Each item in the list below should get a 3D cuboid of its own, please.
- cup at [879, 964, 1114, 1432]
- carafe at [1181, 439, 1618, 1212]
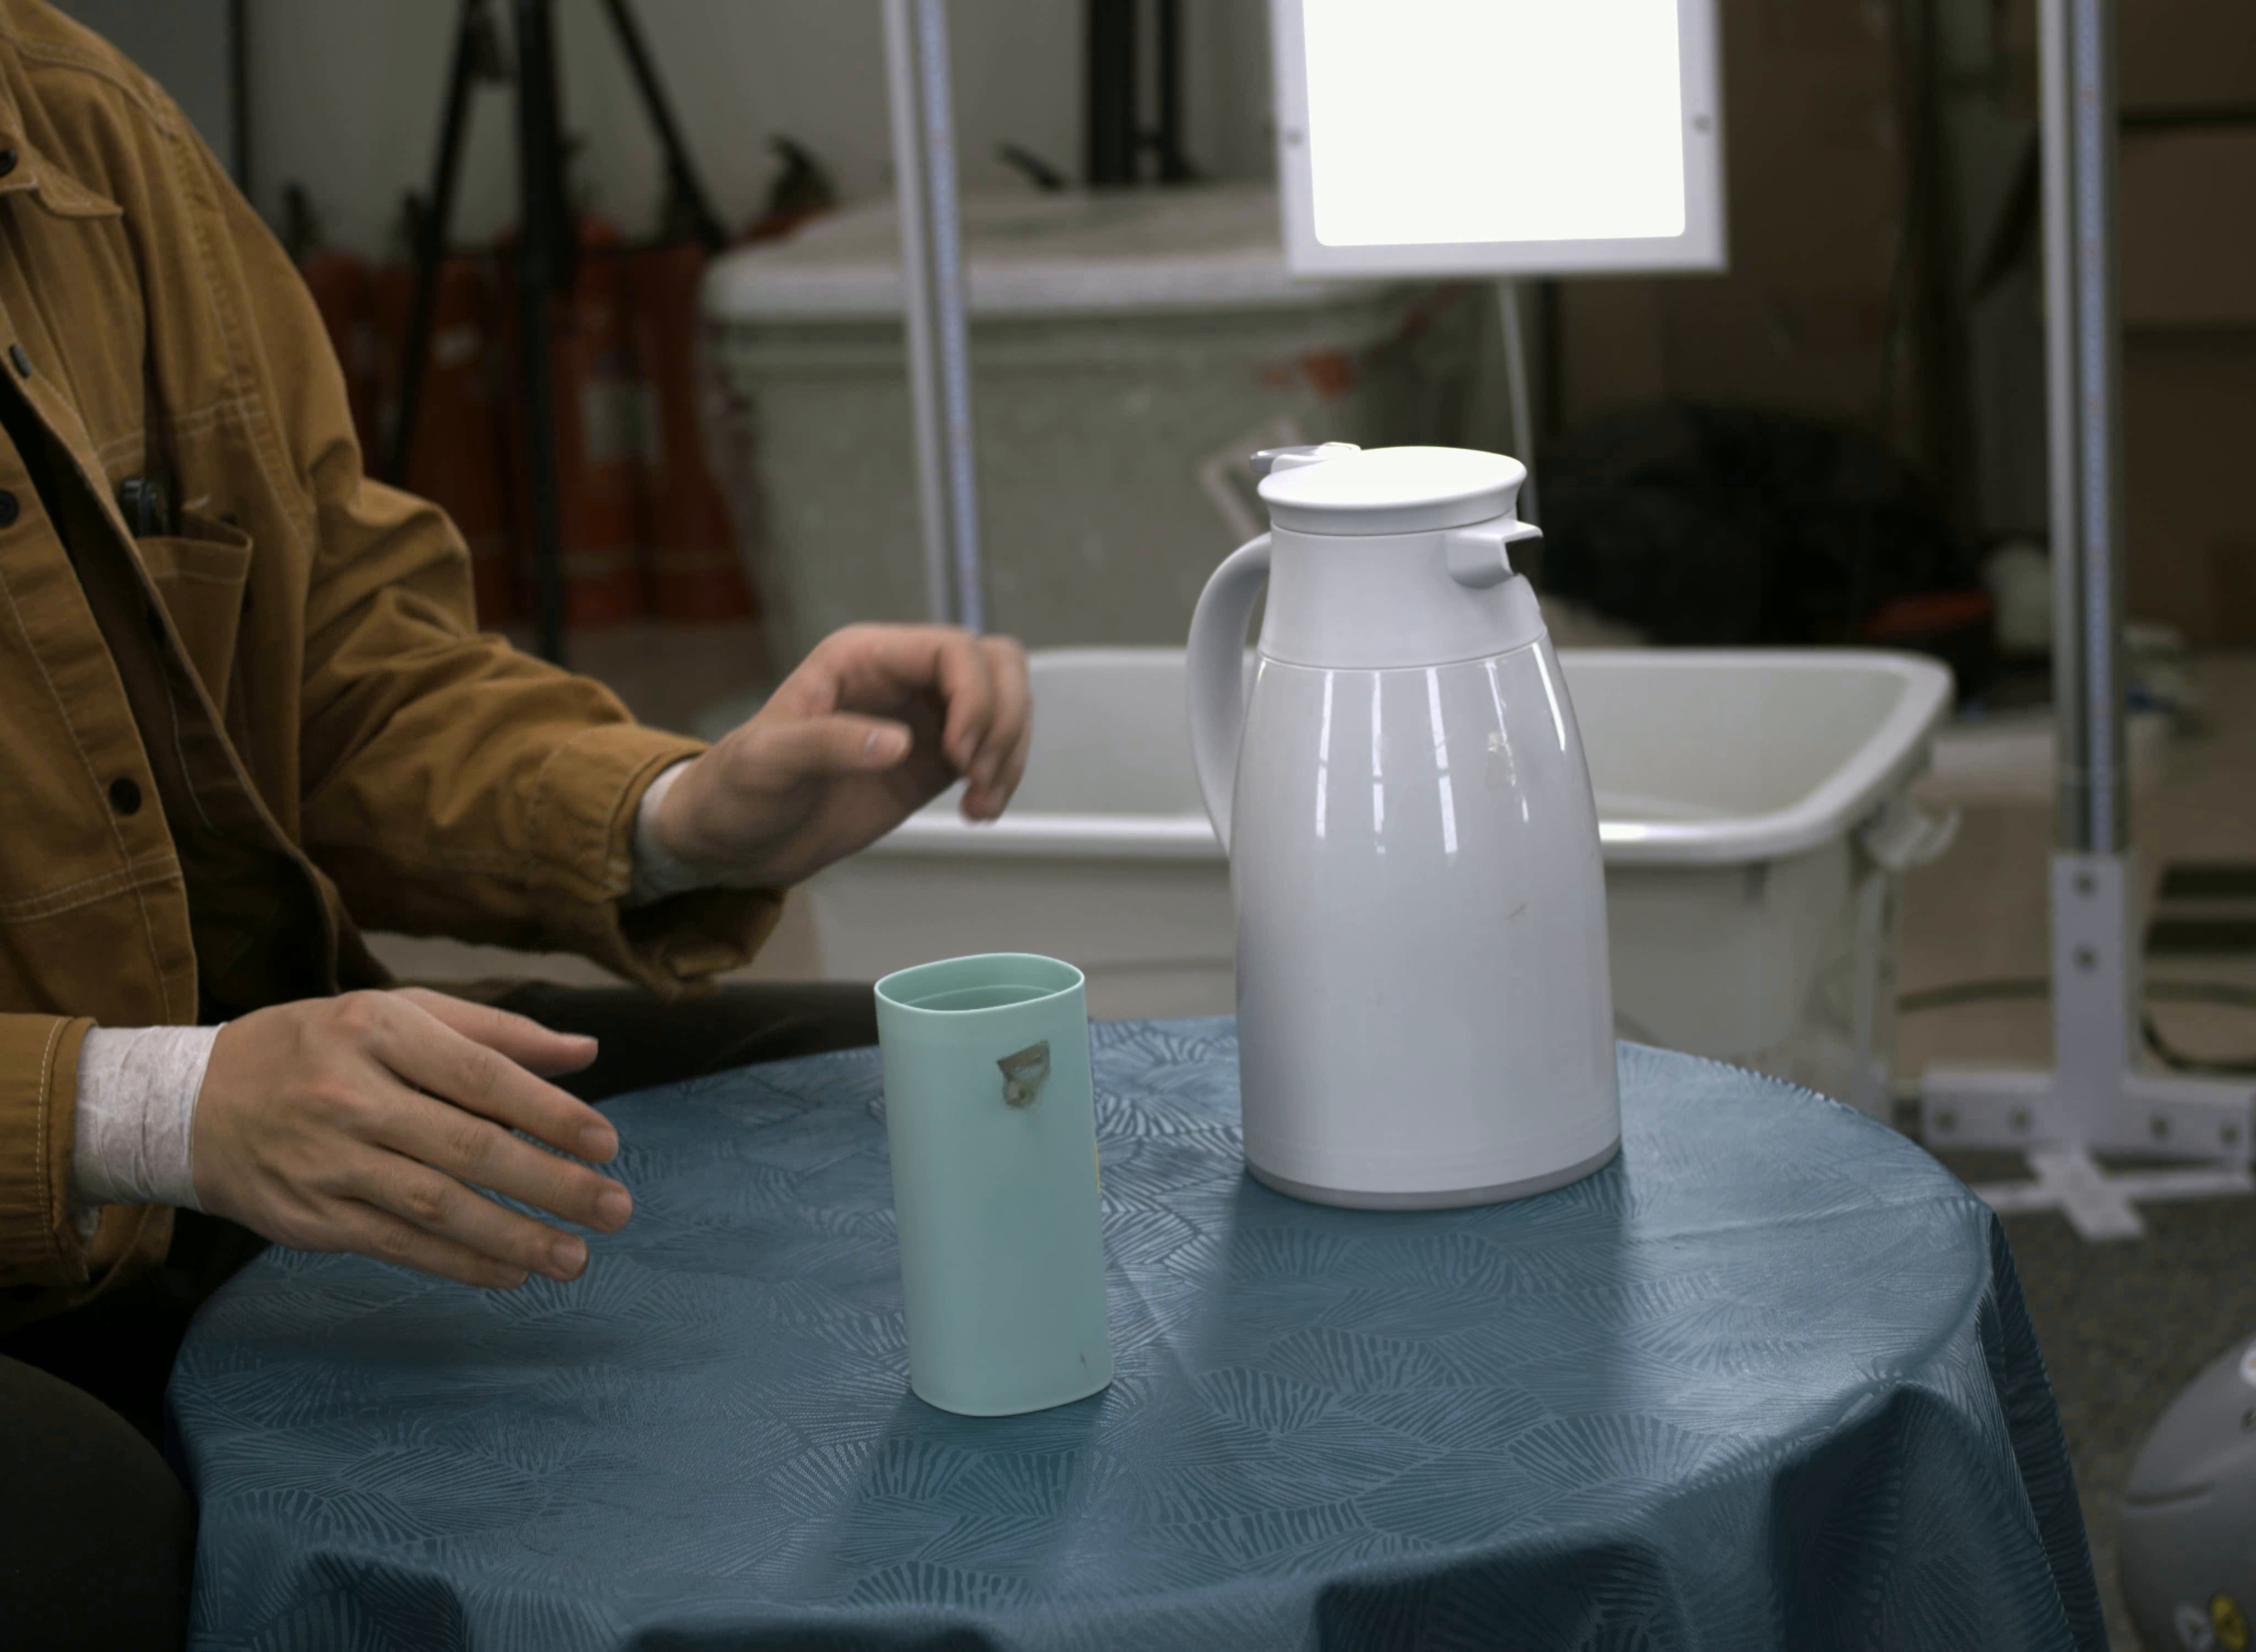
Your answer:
[{"bbox_3d":[-0.041,0.114,1.705,0.066,0.133,0.066,-5,13,0],"label":"cup"},{"bbox_3d":[0.083,-0.008,1.896,0.129,0.249,0.171,-16,17,-38],"label":"carafe"}]
